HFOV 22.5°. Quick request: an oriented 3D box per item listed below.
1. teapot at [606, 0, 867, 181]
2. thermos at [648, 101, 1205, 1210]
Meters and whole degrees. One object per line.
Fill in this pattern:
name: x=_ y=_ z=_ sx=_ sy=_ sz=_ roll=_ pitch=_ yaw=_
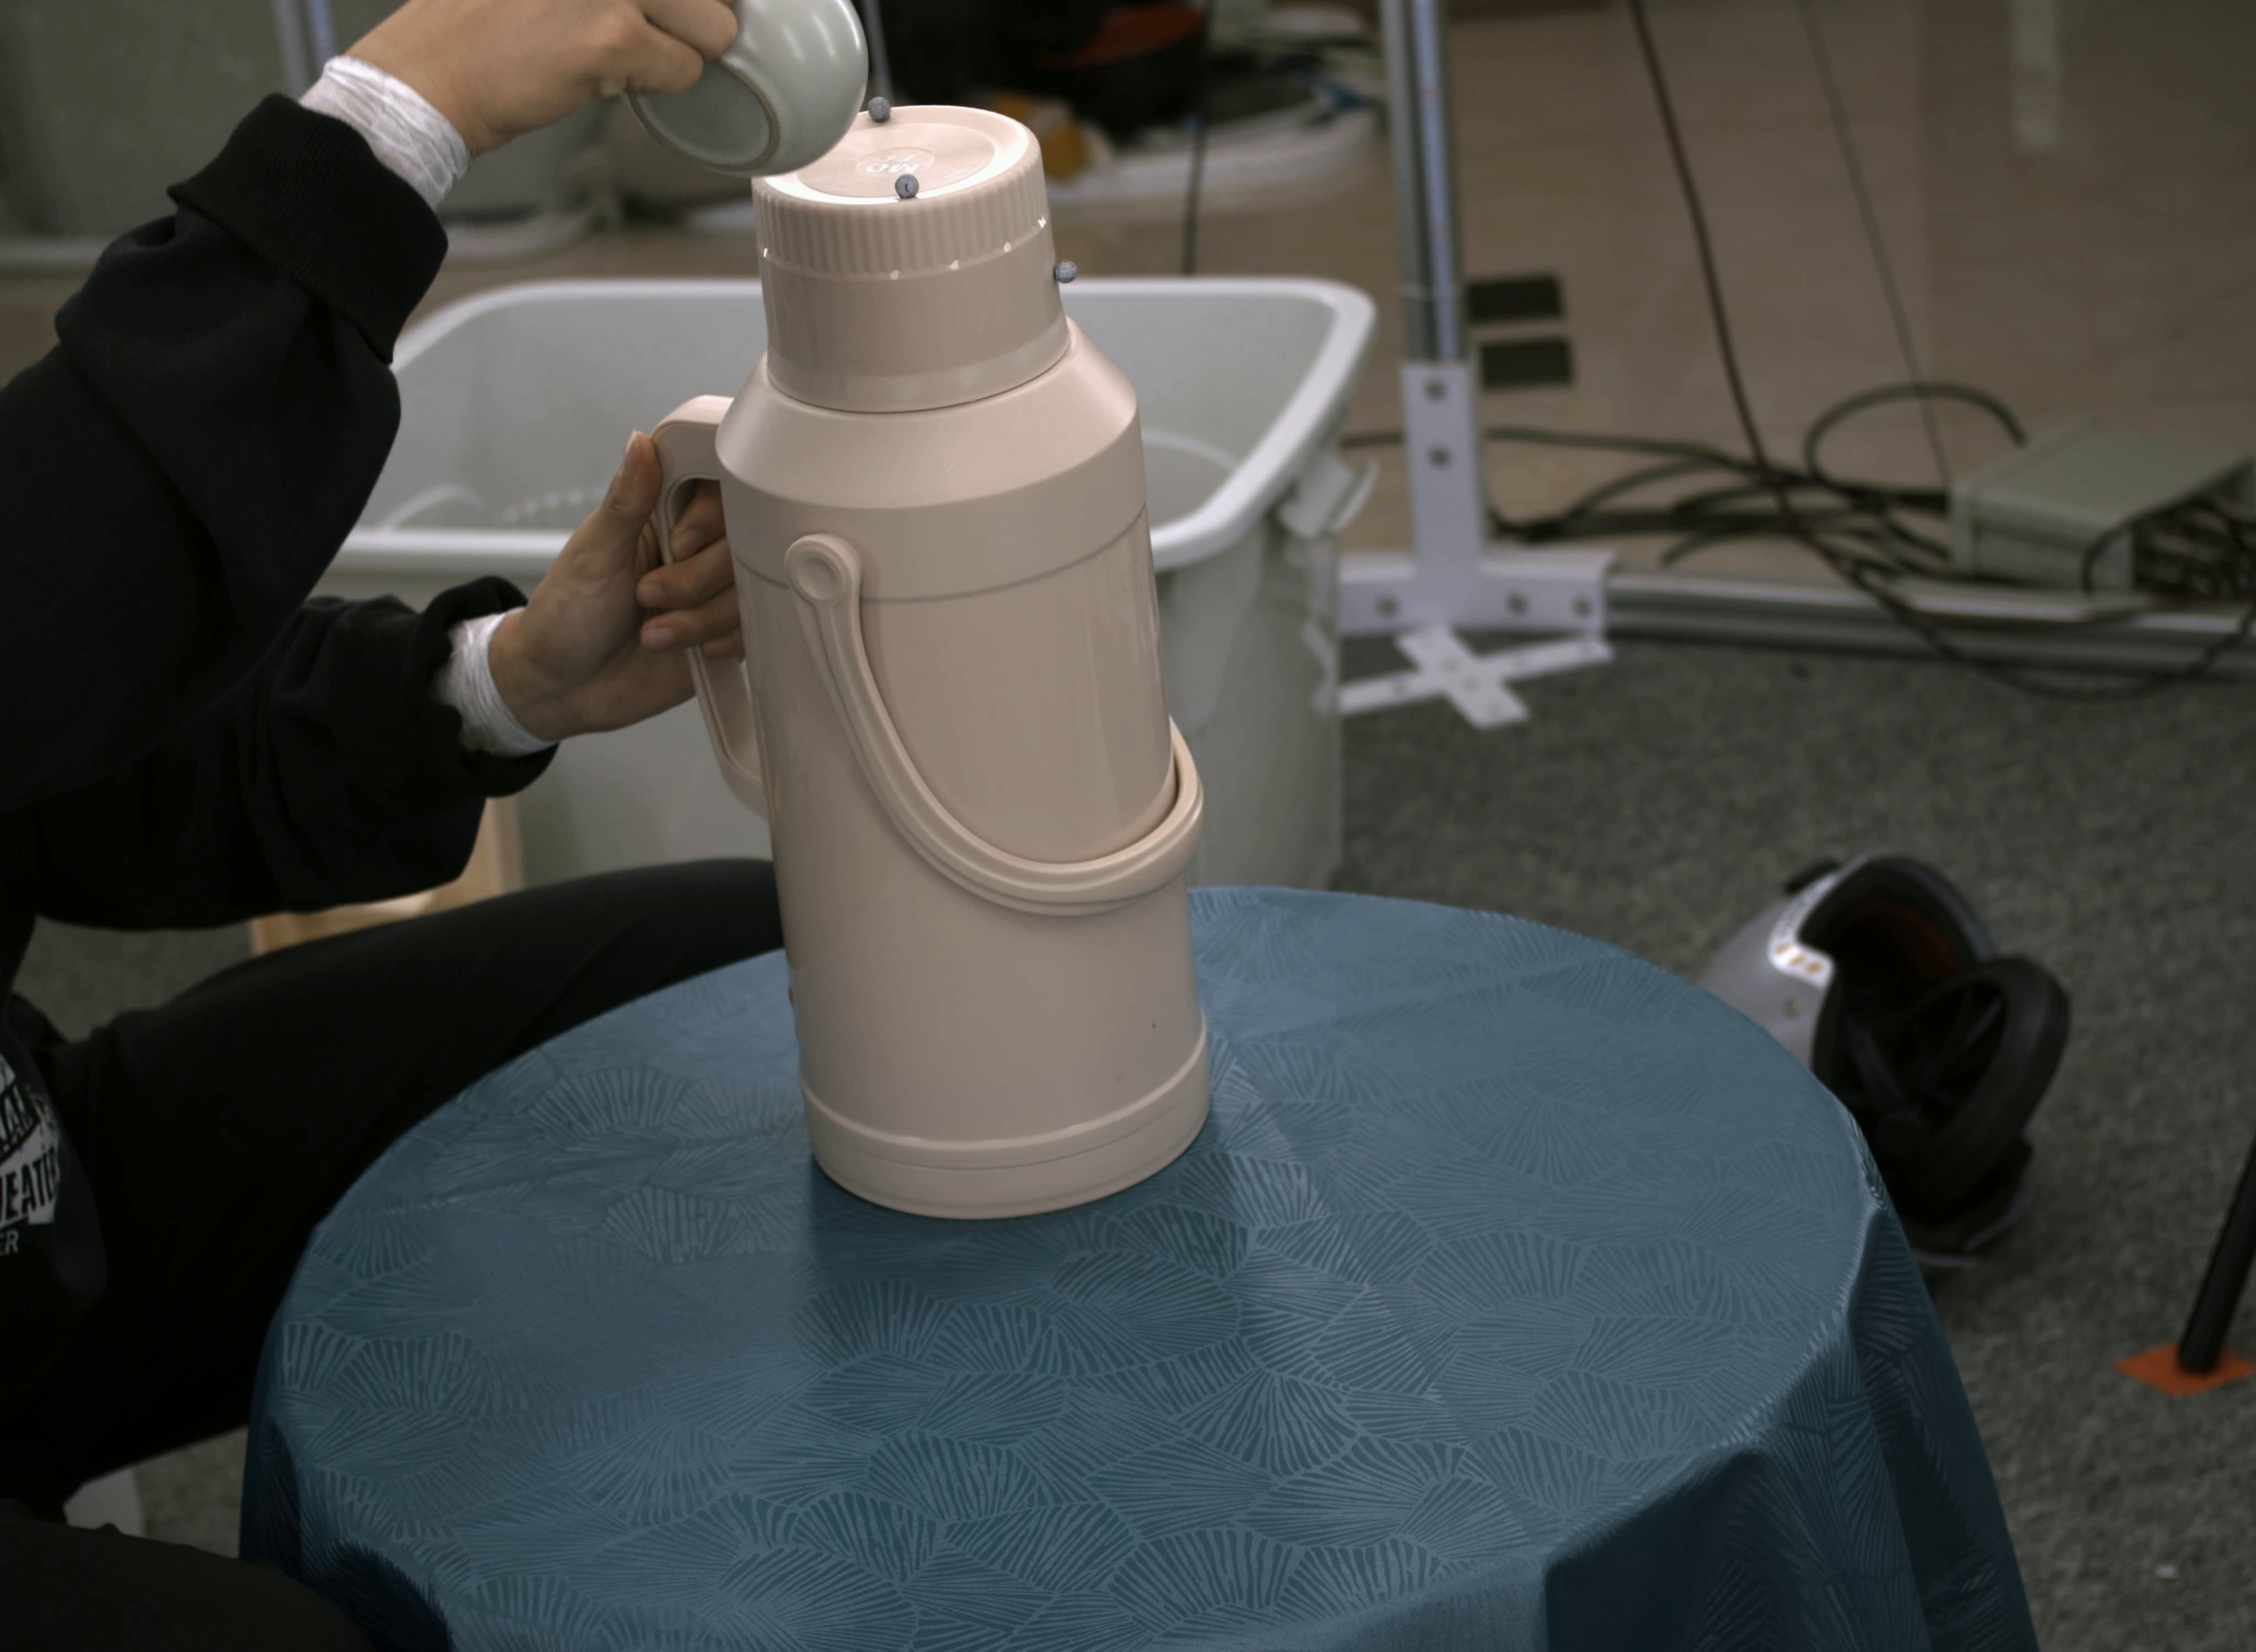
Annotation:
teapot: x=-0.136 y=-0.269 z=1.917 sx=0.091 sy=0.130 sz=0.059 roll=12 pitch=55 yaw=28
thermos: x=-0.077 y=-0.067 z=2.124 sx=0.206 sy=0.413 sz=0.173 roll=9 pitch=34 yaw=25
